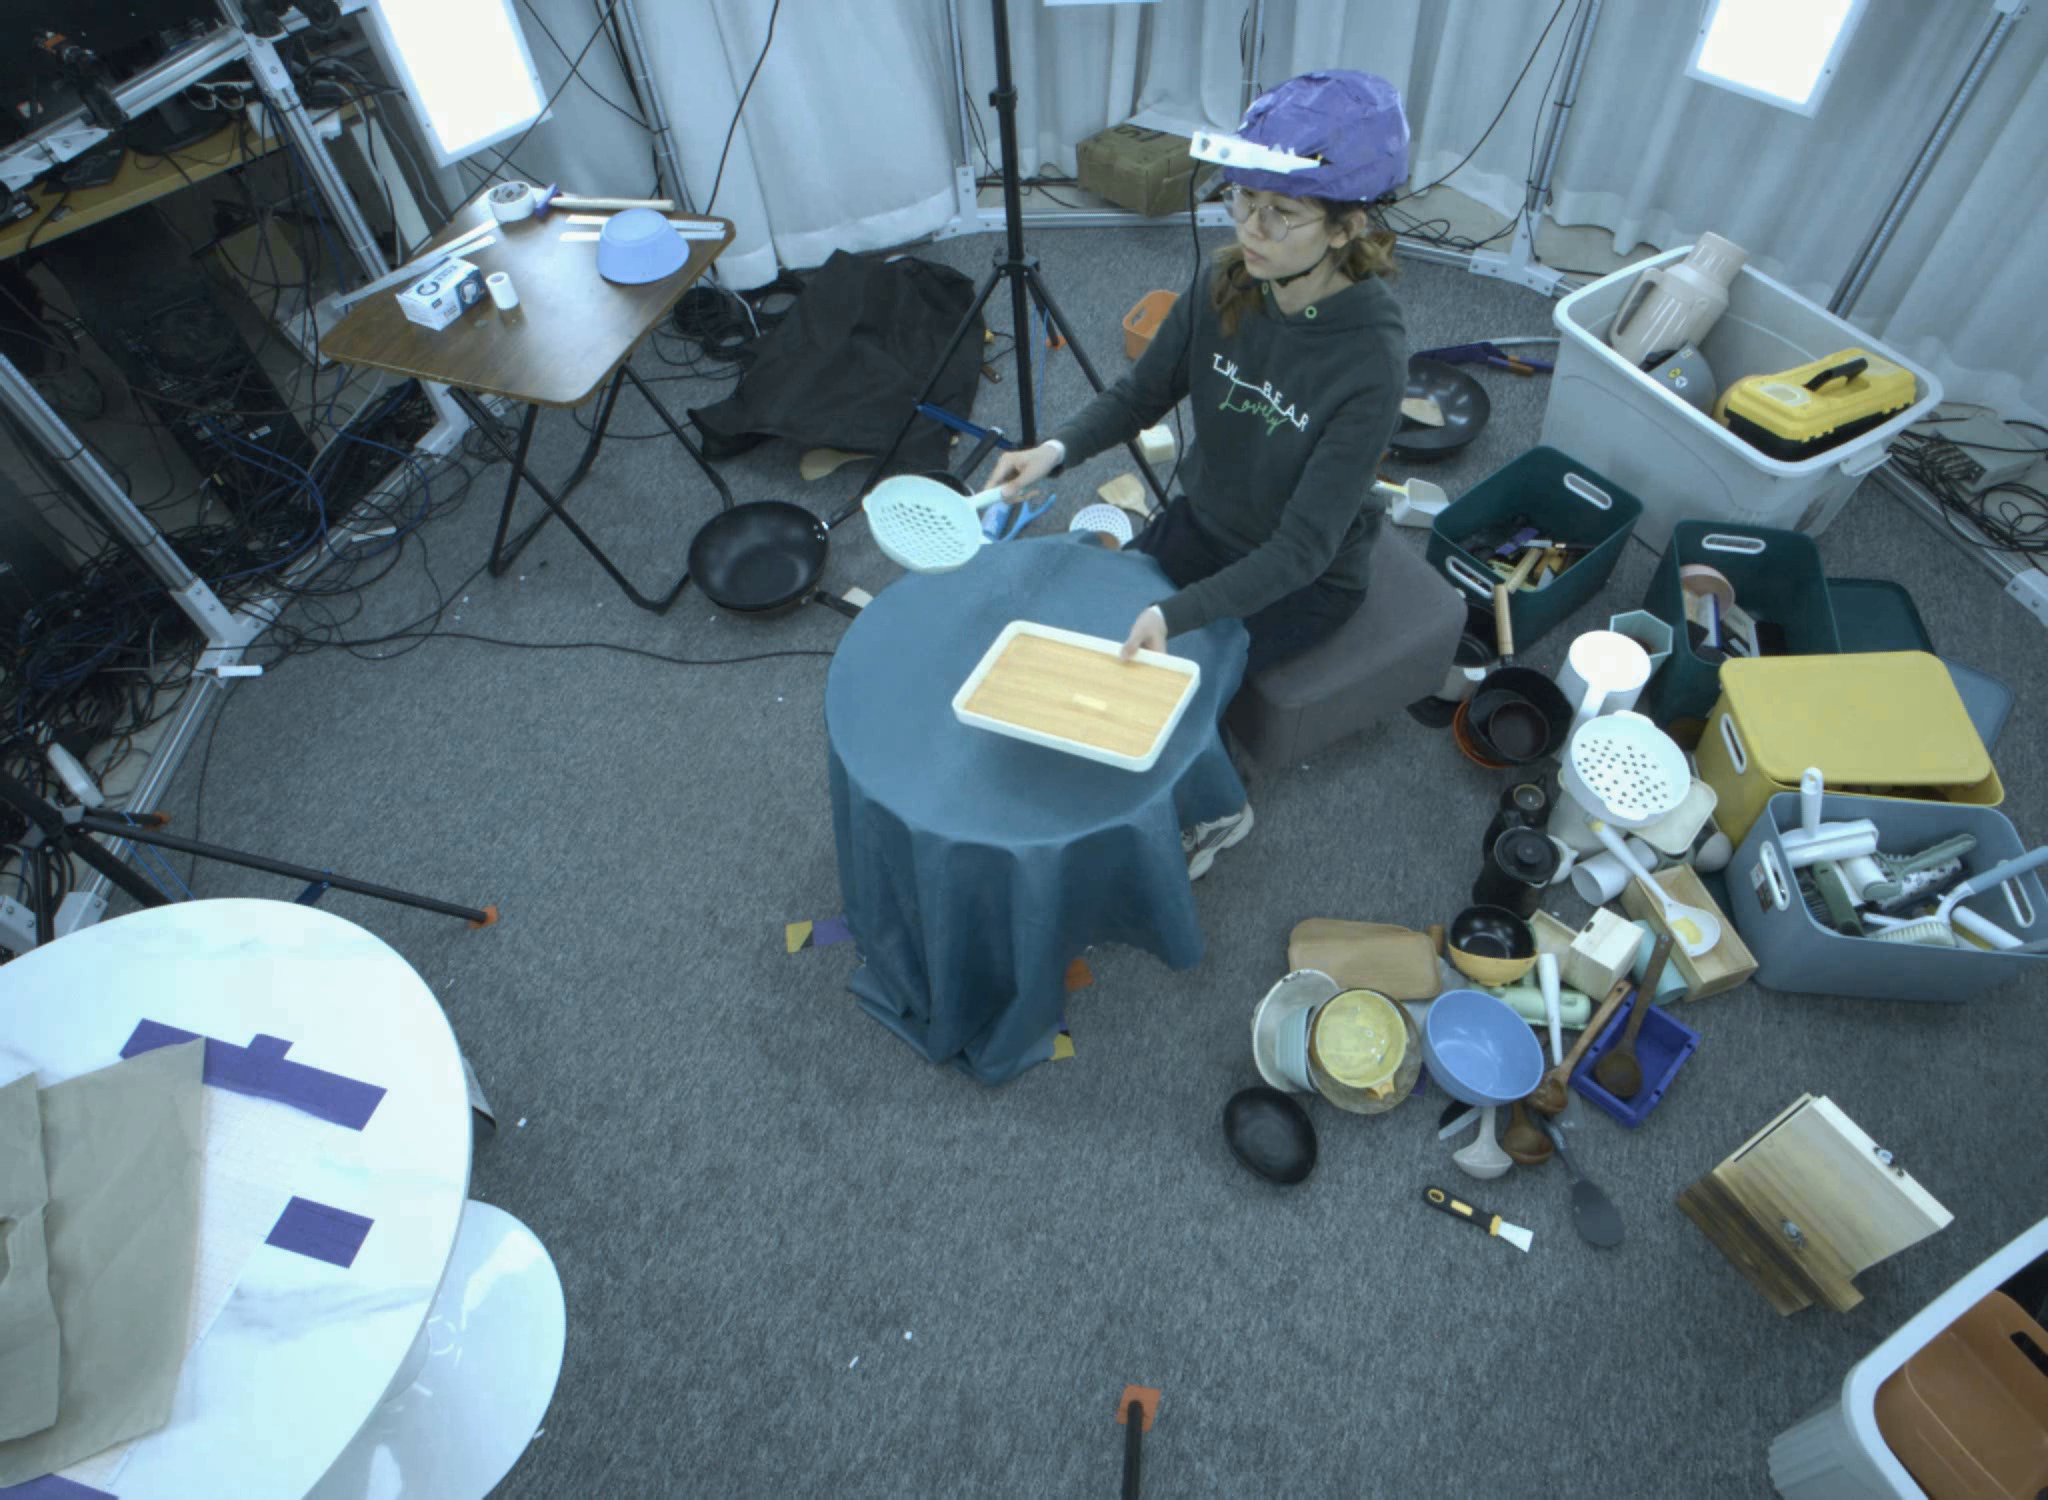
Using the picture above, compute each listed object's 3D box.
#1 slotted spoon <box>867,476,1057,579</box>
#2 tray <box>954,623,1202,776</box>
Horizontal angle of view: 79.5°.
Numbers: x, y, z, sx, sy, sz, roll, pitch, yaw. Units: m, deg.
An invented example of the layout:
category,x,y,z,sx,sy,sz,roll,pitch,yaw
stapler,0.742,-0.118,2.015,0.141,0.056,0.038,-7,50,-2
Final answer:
category,x,y,z,sx,sy,sz,roll,pitch,yaw
slotted spoon,-0.073,-0.349,1.795,0.362,0.075,0.168,-34,77,-32
tray,0.073,-0.074,1.683,0.295,0.028,0.192,17,55,23
